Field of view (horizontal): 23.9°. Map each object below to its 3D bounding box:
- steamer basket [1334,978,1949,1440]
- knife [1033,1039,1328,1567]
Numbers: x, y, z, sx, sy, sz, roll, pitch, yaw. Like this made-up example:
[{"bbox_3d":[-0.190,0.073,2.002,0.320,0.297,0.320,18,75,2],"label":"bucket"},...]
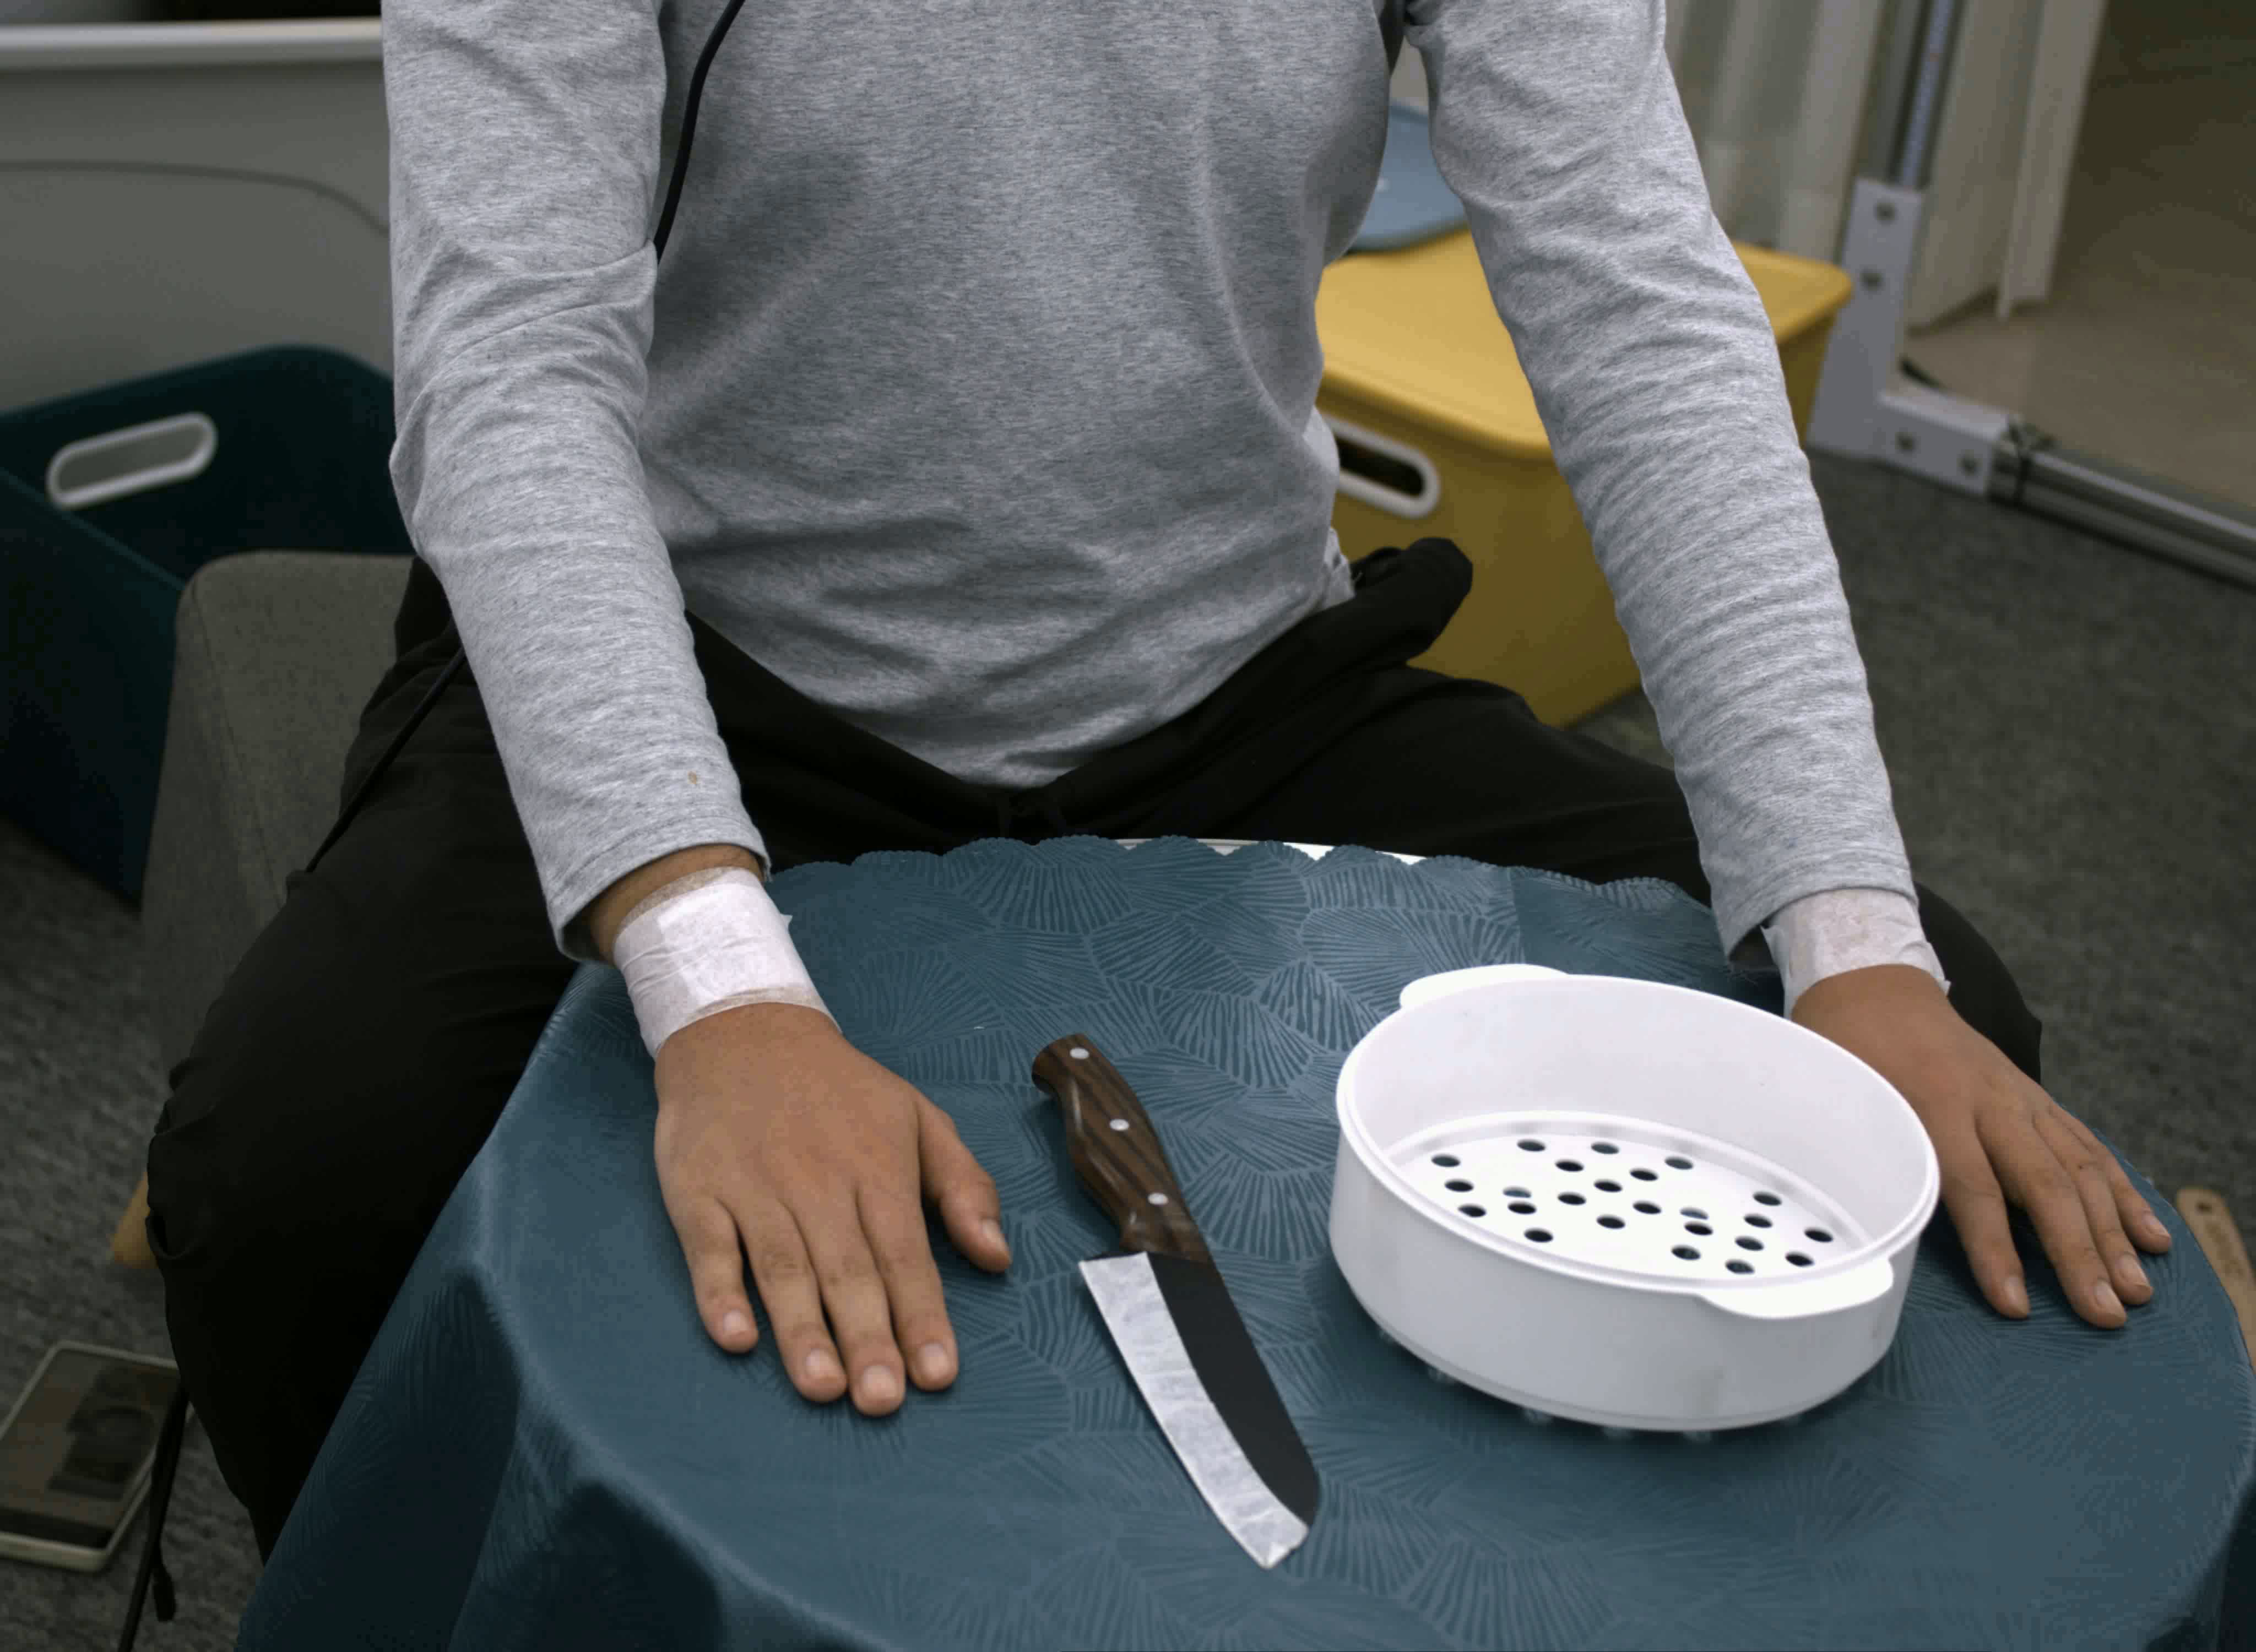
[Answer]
[{"bbox_3d":[0.167,0.128,1.761,0.200,0.069,0.232,-7,29,-26],"label":"steamer basket"},{"bbox_3d":[0.013,0.153,1.735,0.050,0.020,0.291,-6,31,-12],"label":"knife"}]
